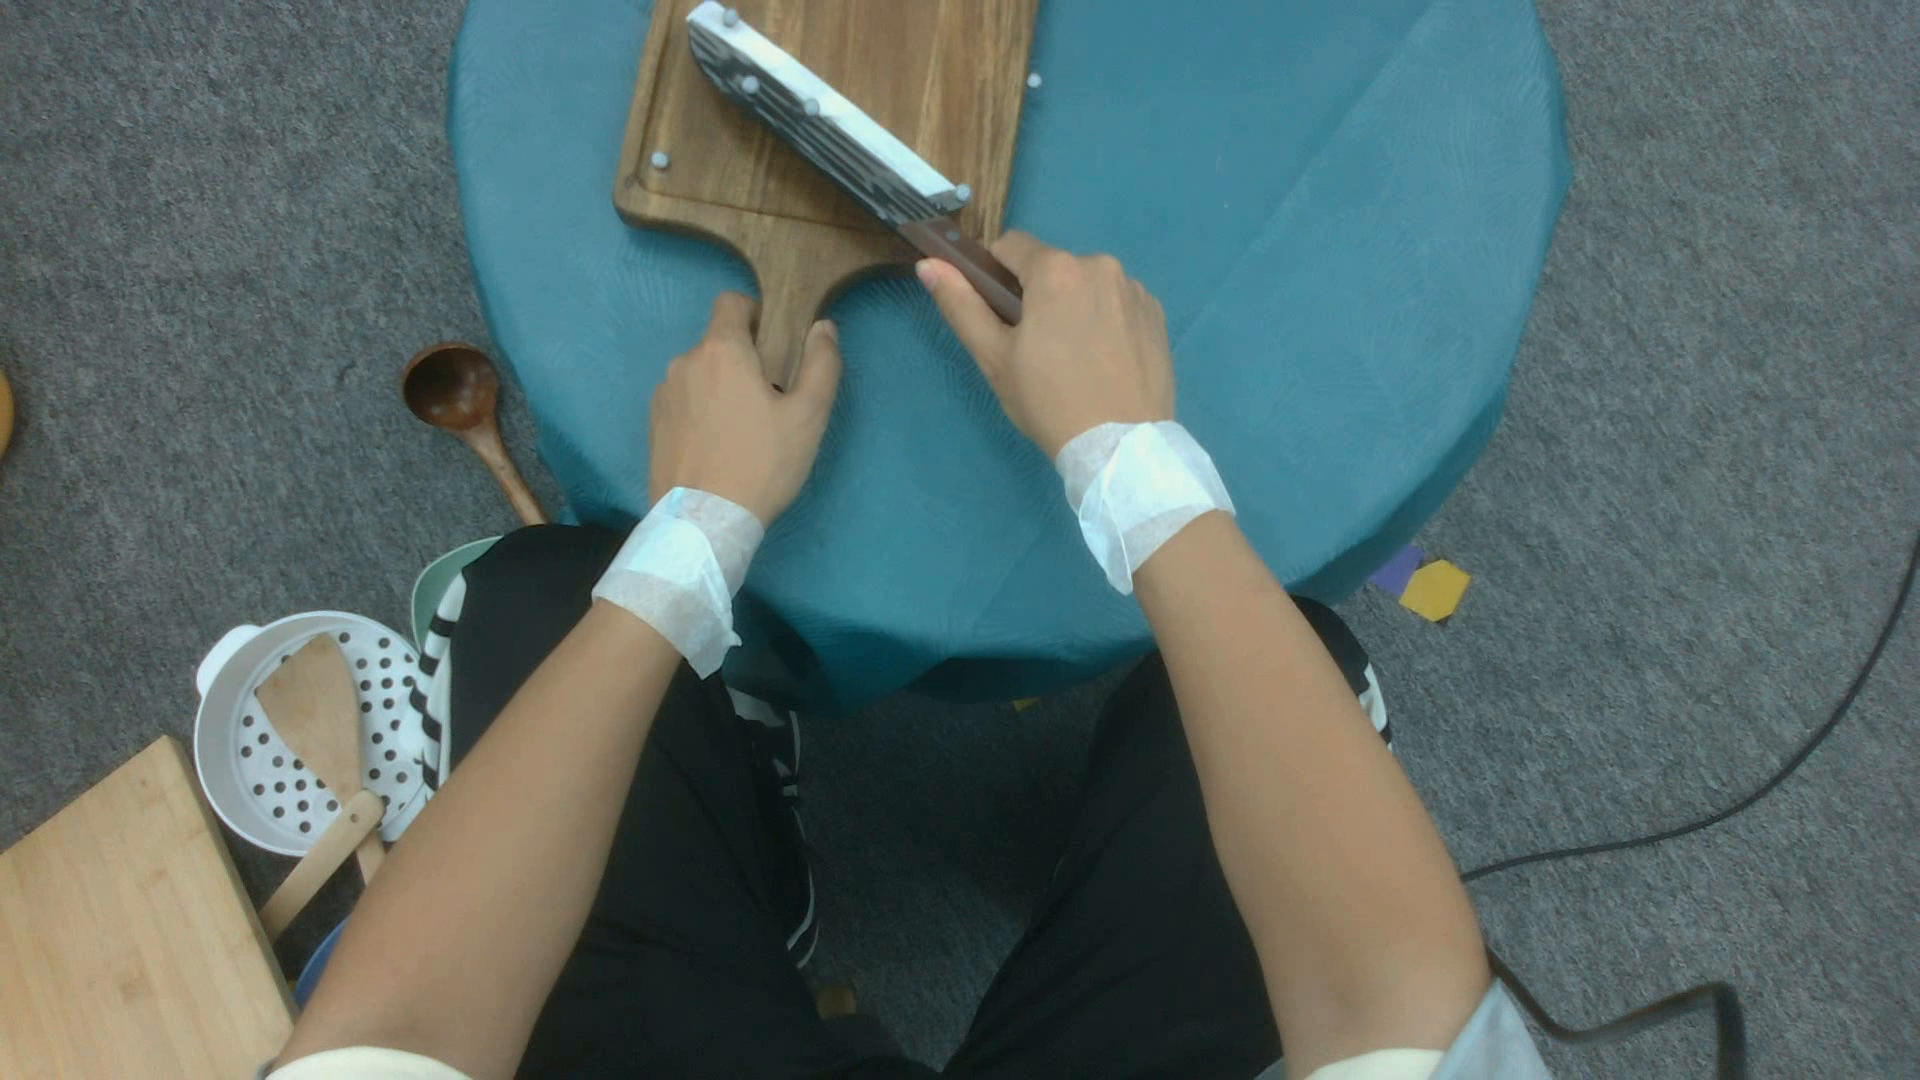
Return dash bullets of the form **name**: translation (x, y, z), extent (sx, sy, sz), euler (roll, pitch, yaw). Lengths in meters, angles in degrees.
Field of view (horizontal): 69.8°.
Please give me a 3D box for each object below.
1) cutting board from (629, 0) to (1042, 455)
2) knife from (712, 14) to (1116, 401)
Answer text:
- **cutting board**: translation (-0.066, -0.216, 0.736), extent (0.201, 0.023, 0.353), euler (8, 77, -1)
- **knife**: translation (-0.026, -0.177, 0.697), extent (0.299, 0.024, 0.068), euler (42, 43, 12)
